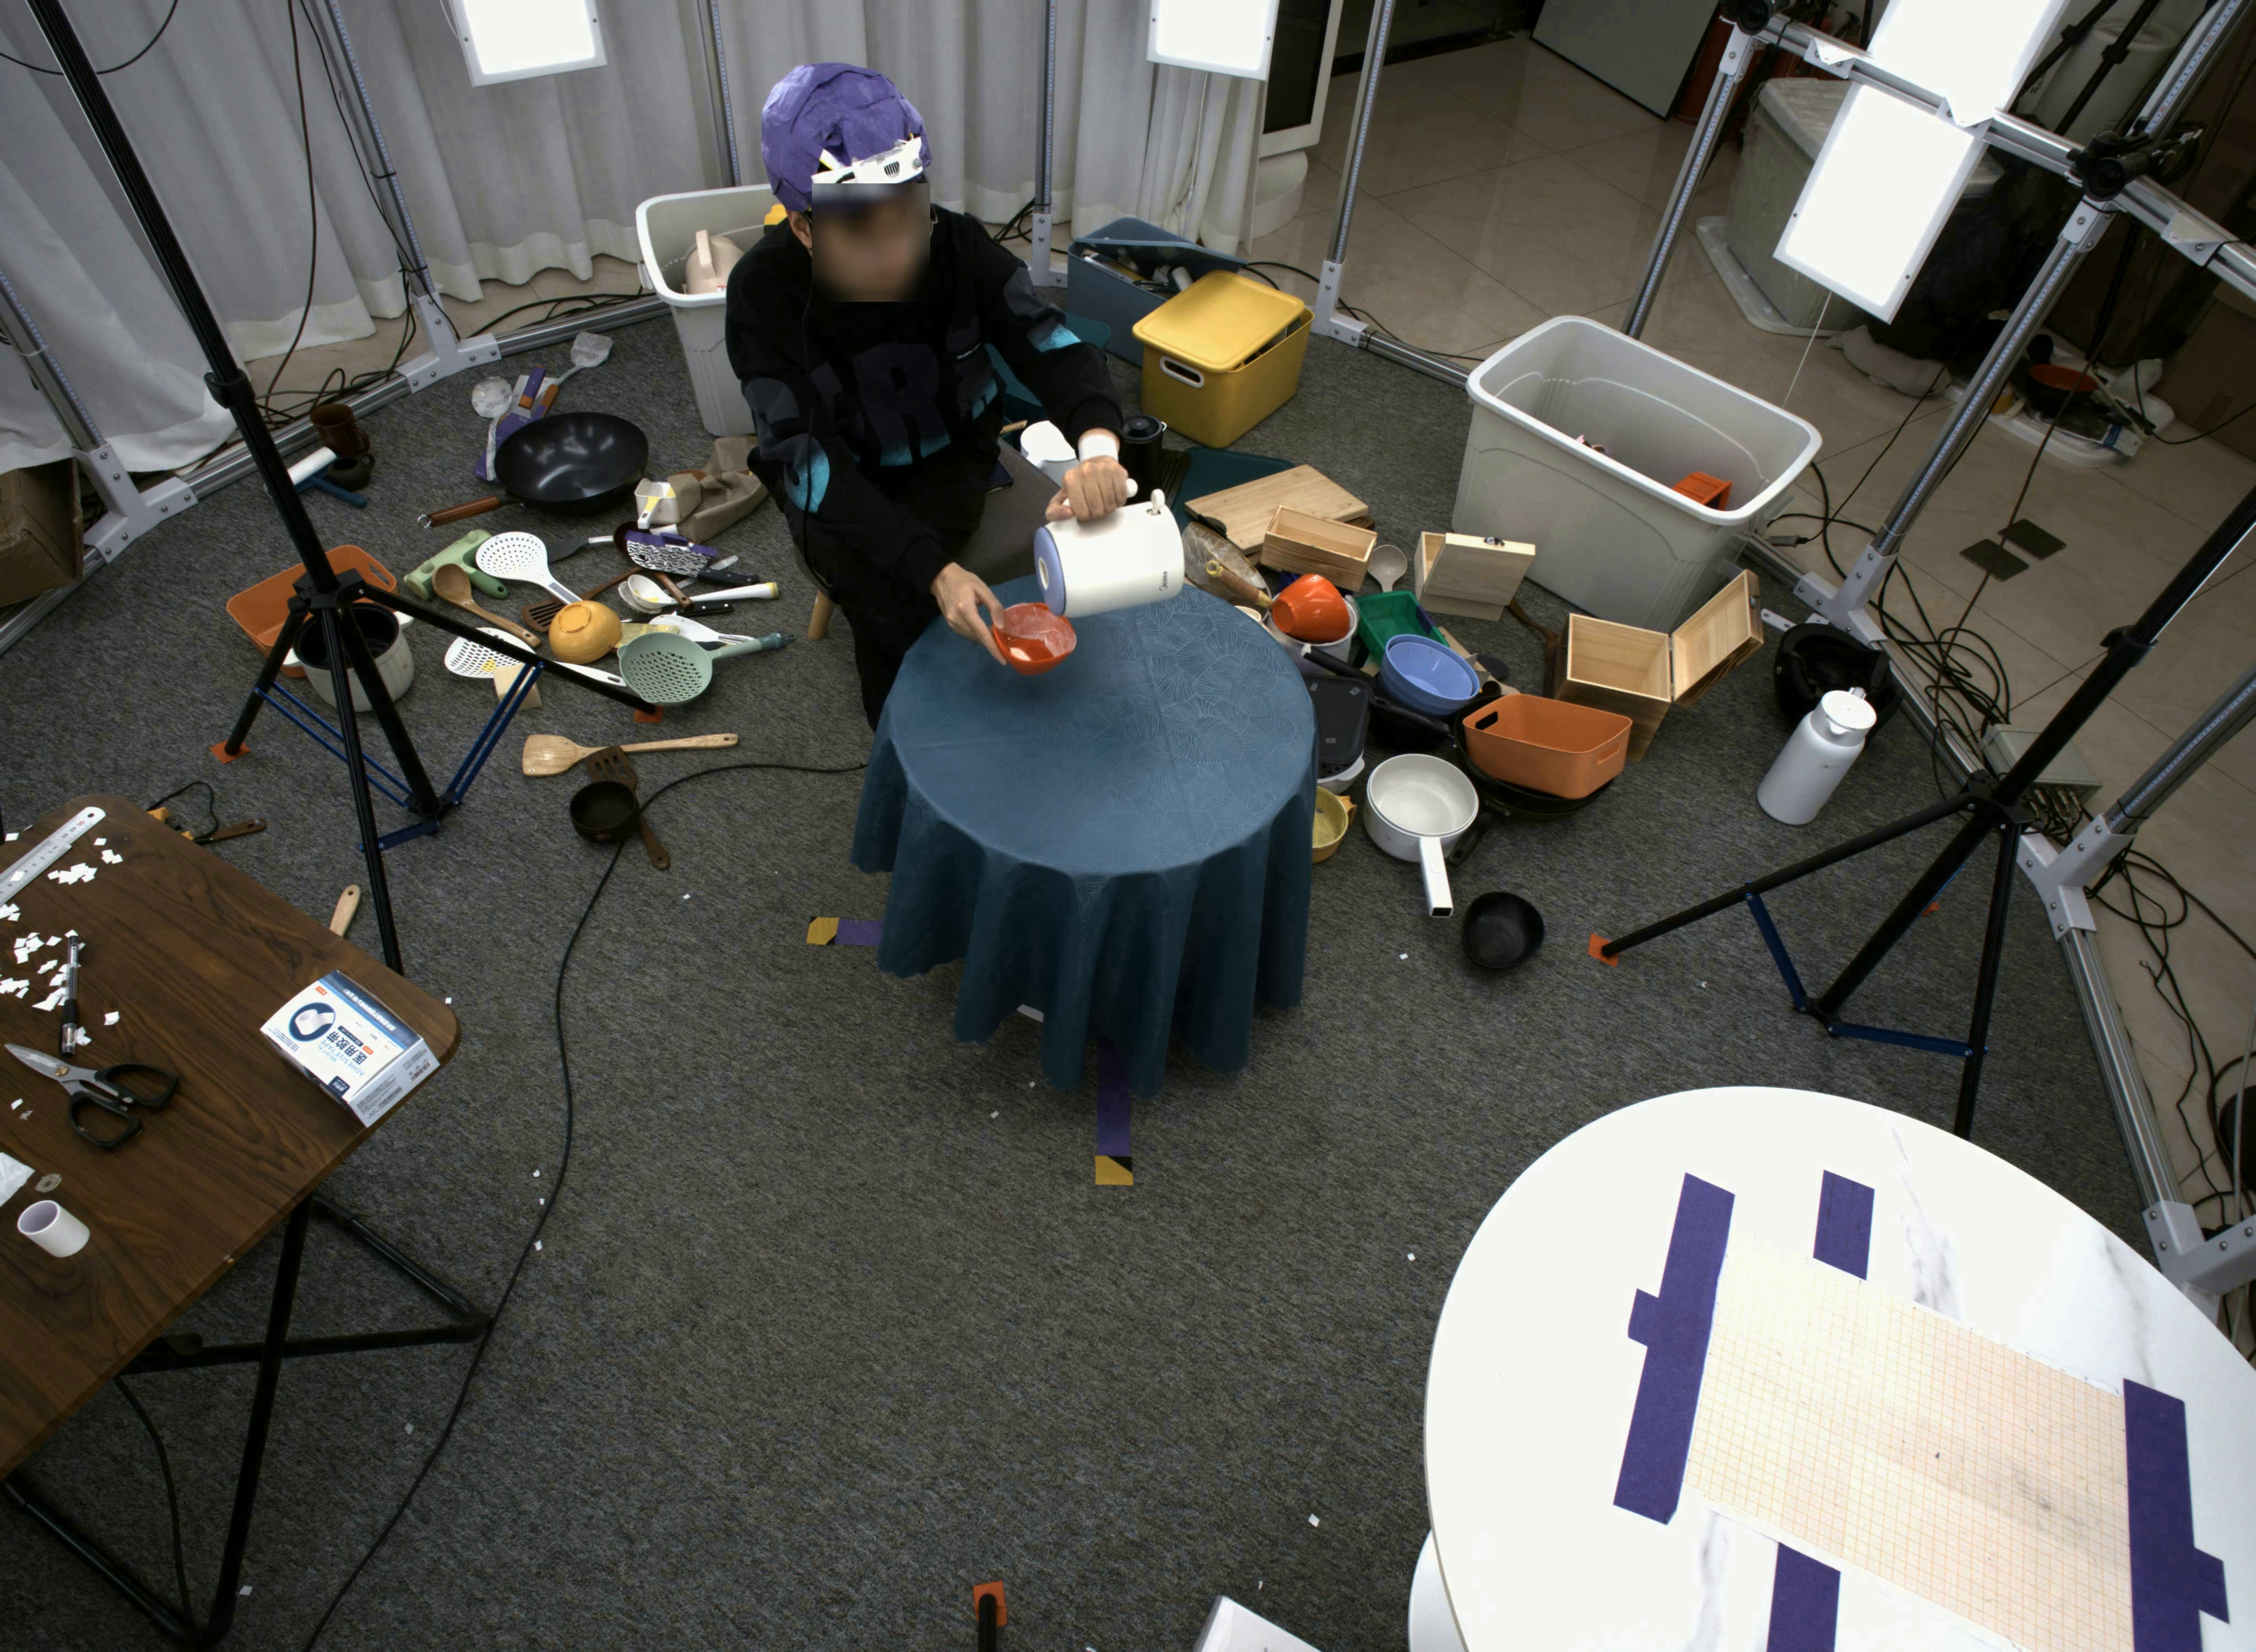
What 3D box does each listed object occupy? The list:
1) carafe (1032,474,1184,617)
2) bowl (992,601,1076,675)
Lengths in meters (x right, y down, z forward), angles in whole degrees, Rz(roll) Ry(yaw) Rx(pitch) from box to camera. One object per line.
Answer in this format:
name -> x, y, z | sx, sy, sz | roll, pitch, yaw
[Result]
carafe -> -0.026, -0.369, 1.682 | 0.182, 0.186, 0.135 | -13, 47, -17
bowl -> -0.132, -0.253, 1.776 | 0.118, 0.050, 0.122 | 5, 53, -7
